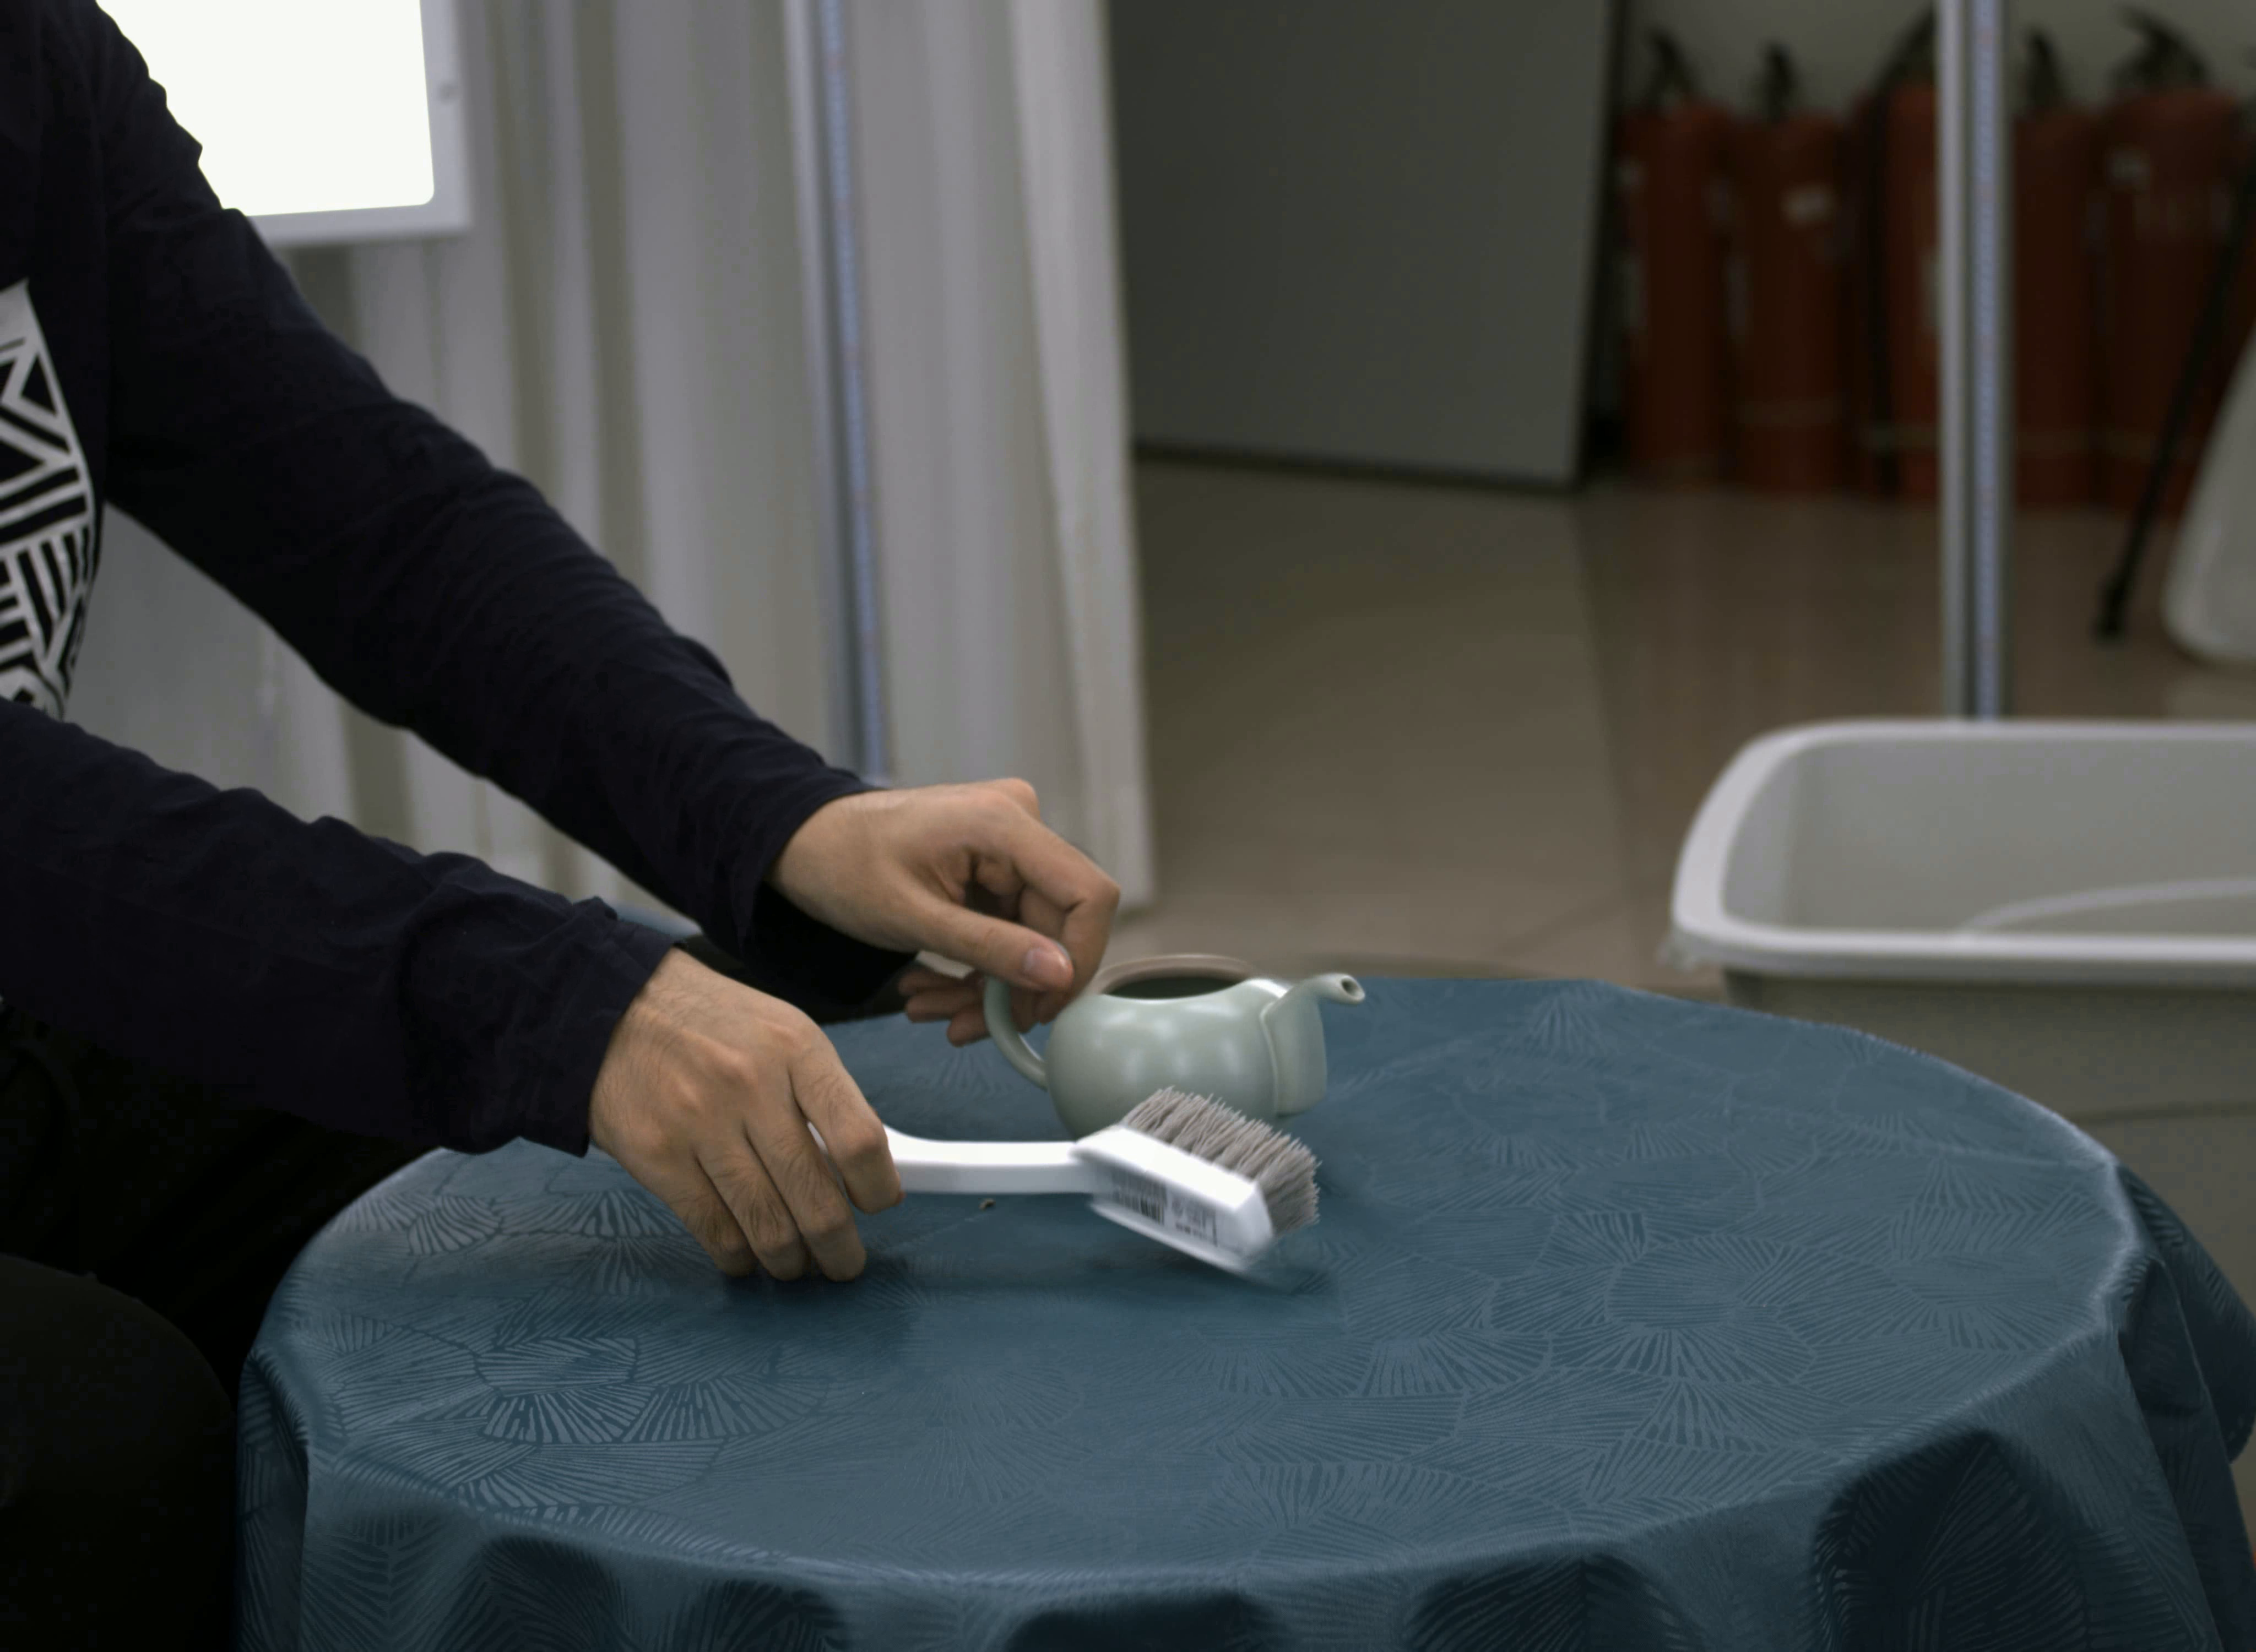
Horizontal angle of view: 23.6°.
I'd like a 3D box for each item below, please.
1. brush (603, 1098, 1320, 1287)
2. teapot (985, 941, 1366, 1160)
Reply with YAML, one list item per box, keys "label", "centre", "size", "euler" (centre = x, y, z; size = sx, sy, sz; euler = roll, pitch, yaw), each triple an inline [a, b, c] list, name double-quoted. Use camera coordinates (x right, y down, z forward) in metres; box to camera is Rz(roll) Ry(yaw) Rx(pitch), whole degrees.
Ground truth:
- label: "brush"
  centre: [-0.054, 0.105, 1.717]
  size: [0.244, 0.034, 0.050]
  euler: [6, 53, 26]
- label: "teapot"
  centre: [0.017, 0.080, 1.790]
  size: [0.144, 0.075, 0.087]
  euler: [6, 18, 32]
